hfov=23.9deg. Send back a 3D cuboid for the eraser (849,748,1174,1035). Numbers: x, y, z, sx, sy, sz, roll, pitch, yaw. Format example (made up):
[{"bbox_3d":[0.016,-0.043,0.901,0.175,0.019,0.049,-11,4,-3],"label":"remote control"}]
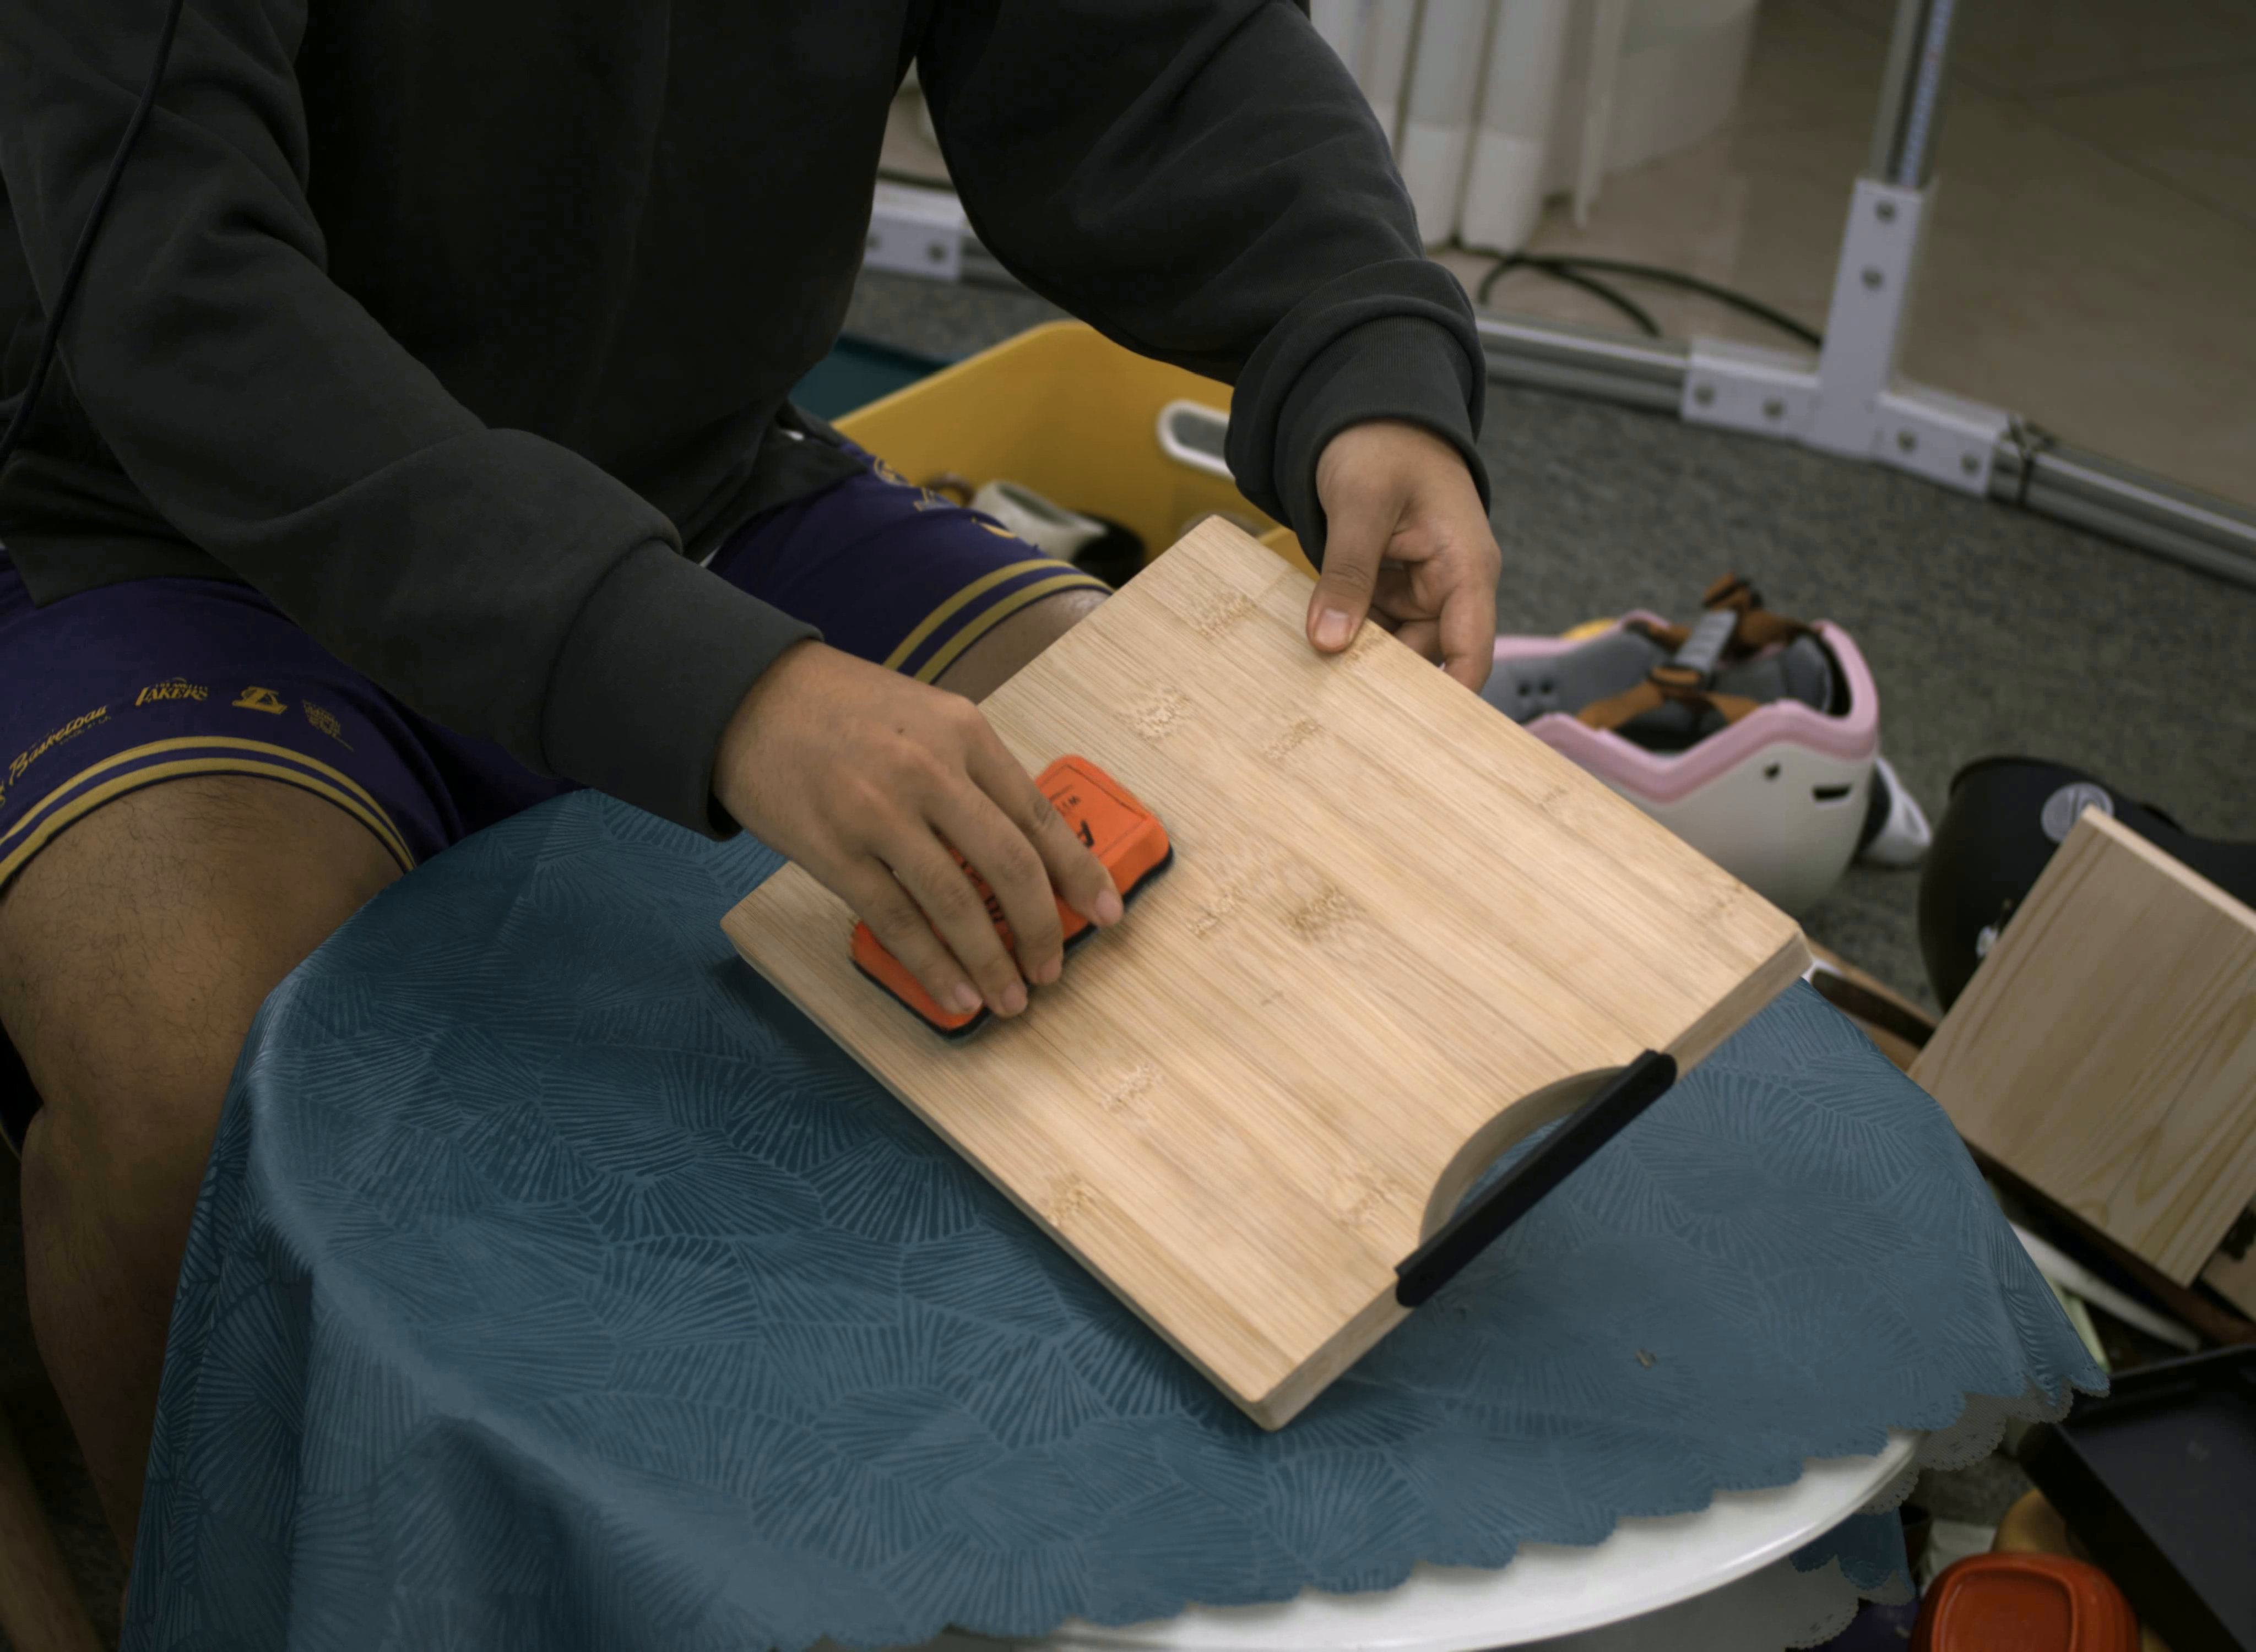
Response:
[{"bbox_3d":[-0.040,0.022,1.842,0.108,0.022,0.059,-40,47,-15],"label":"eraser"}]

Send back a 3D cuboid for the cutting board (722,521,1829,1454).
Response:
[{"bbox_3d":[0.041,0.042,1.813,0.250,0.023,0.352,-40,43,-12],"label":"cutting board"}]
